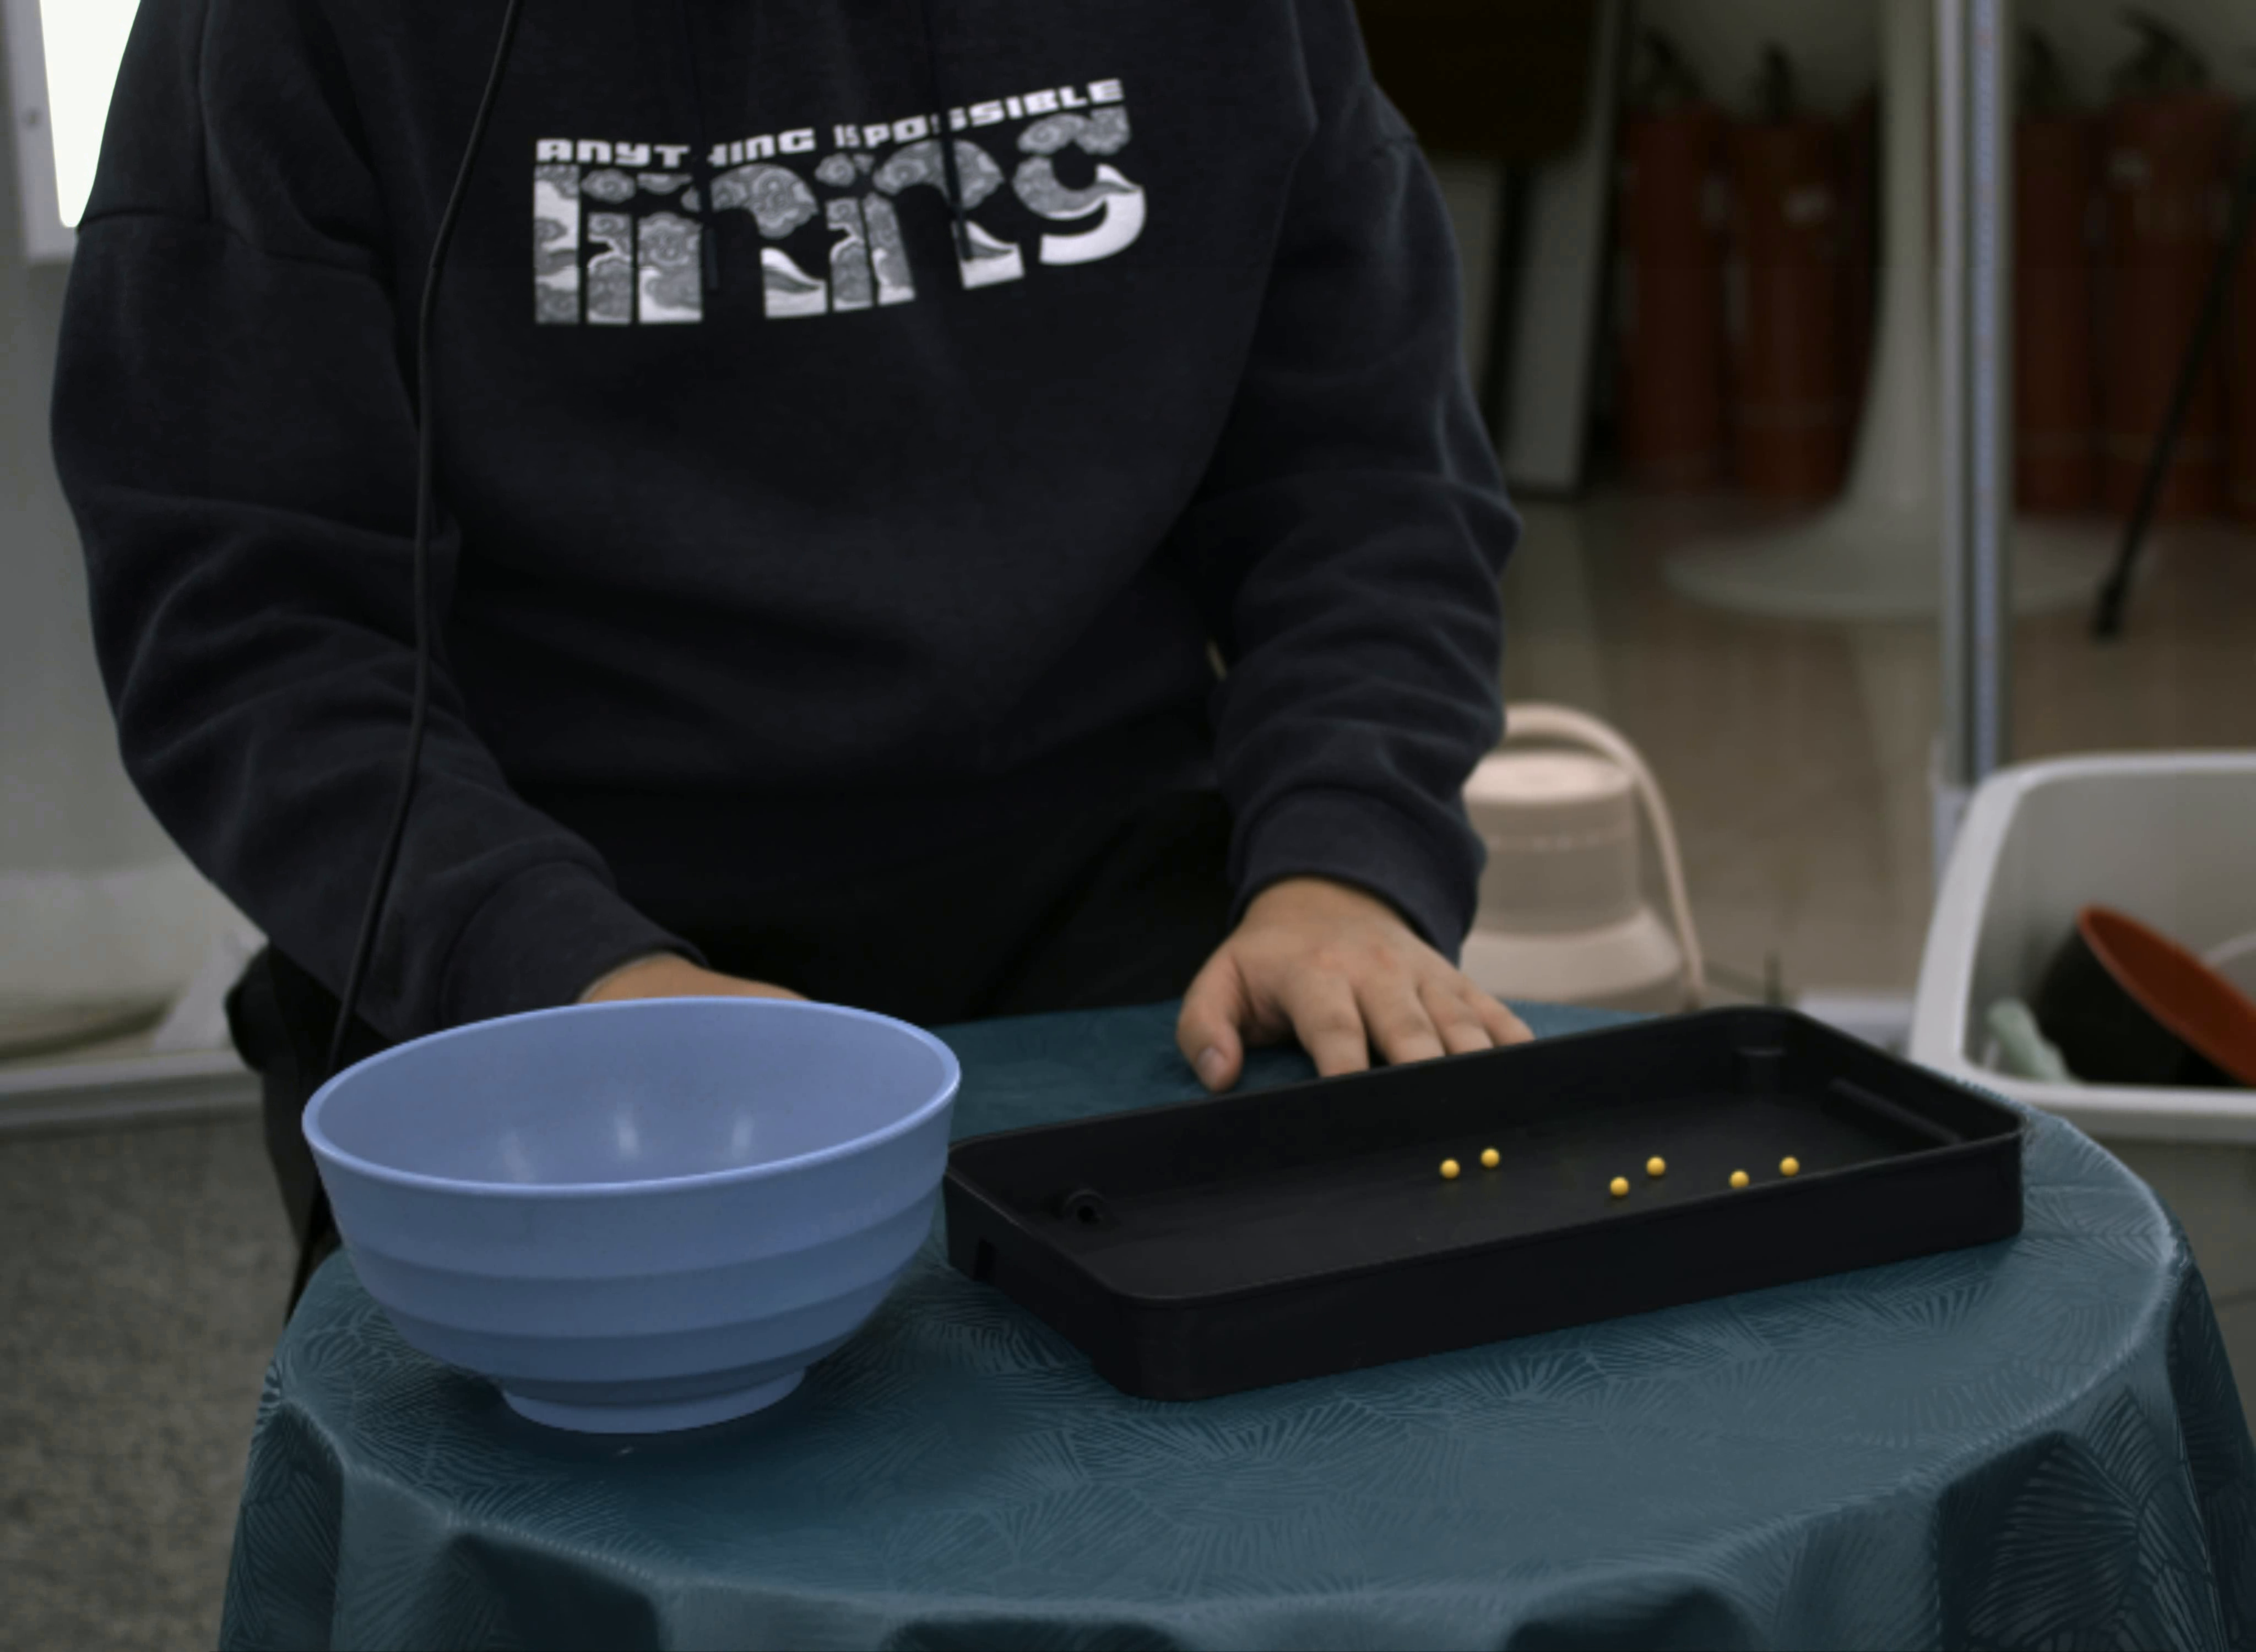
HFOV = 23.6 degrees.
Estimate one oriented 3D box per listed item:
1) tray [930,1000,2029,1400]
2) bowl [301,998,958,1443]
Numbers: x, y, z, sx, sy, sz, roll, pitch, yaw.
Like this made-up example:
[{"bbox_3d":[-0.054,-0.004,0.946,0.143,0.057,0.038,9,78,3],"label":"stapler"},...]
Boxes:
[{"bbox_3d":[0.110,0.113,1.696,0.311,0.037,0.186,-9,14,-20],"label":"tray"},{"bbox_3d":[-0.143,0.123,1.609,0.194,0.096,0.197,-5,14,0],"label":"bowl"}]
